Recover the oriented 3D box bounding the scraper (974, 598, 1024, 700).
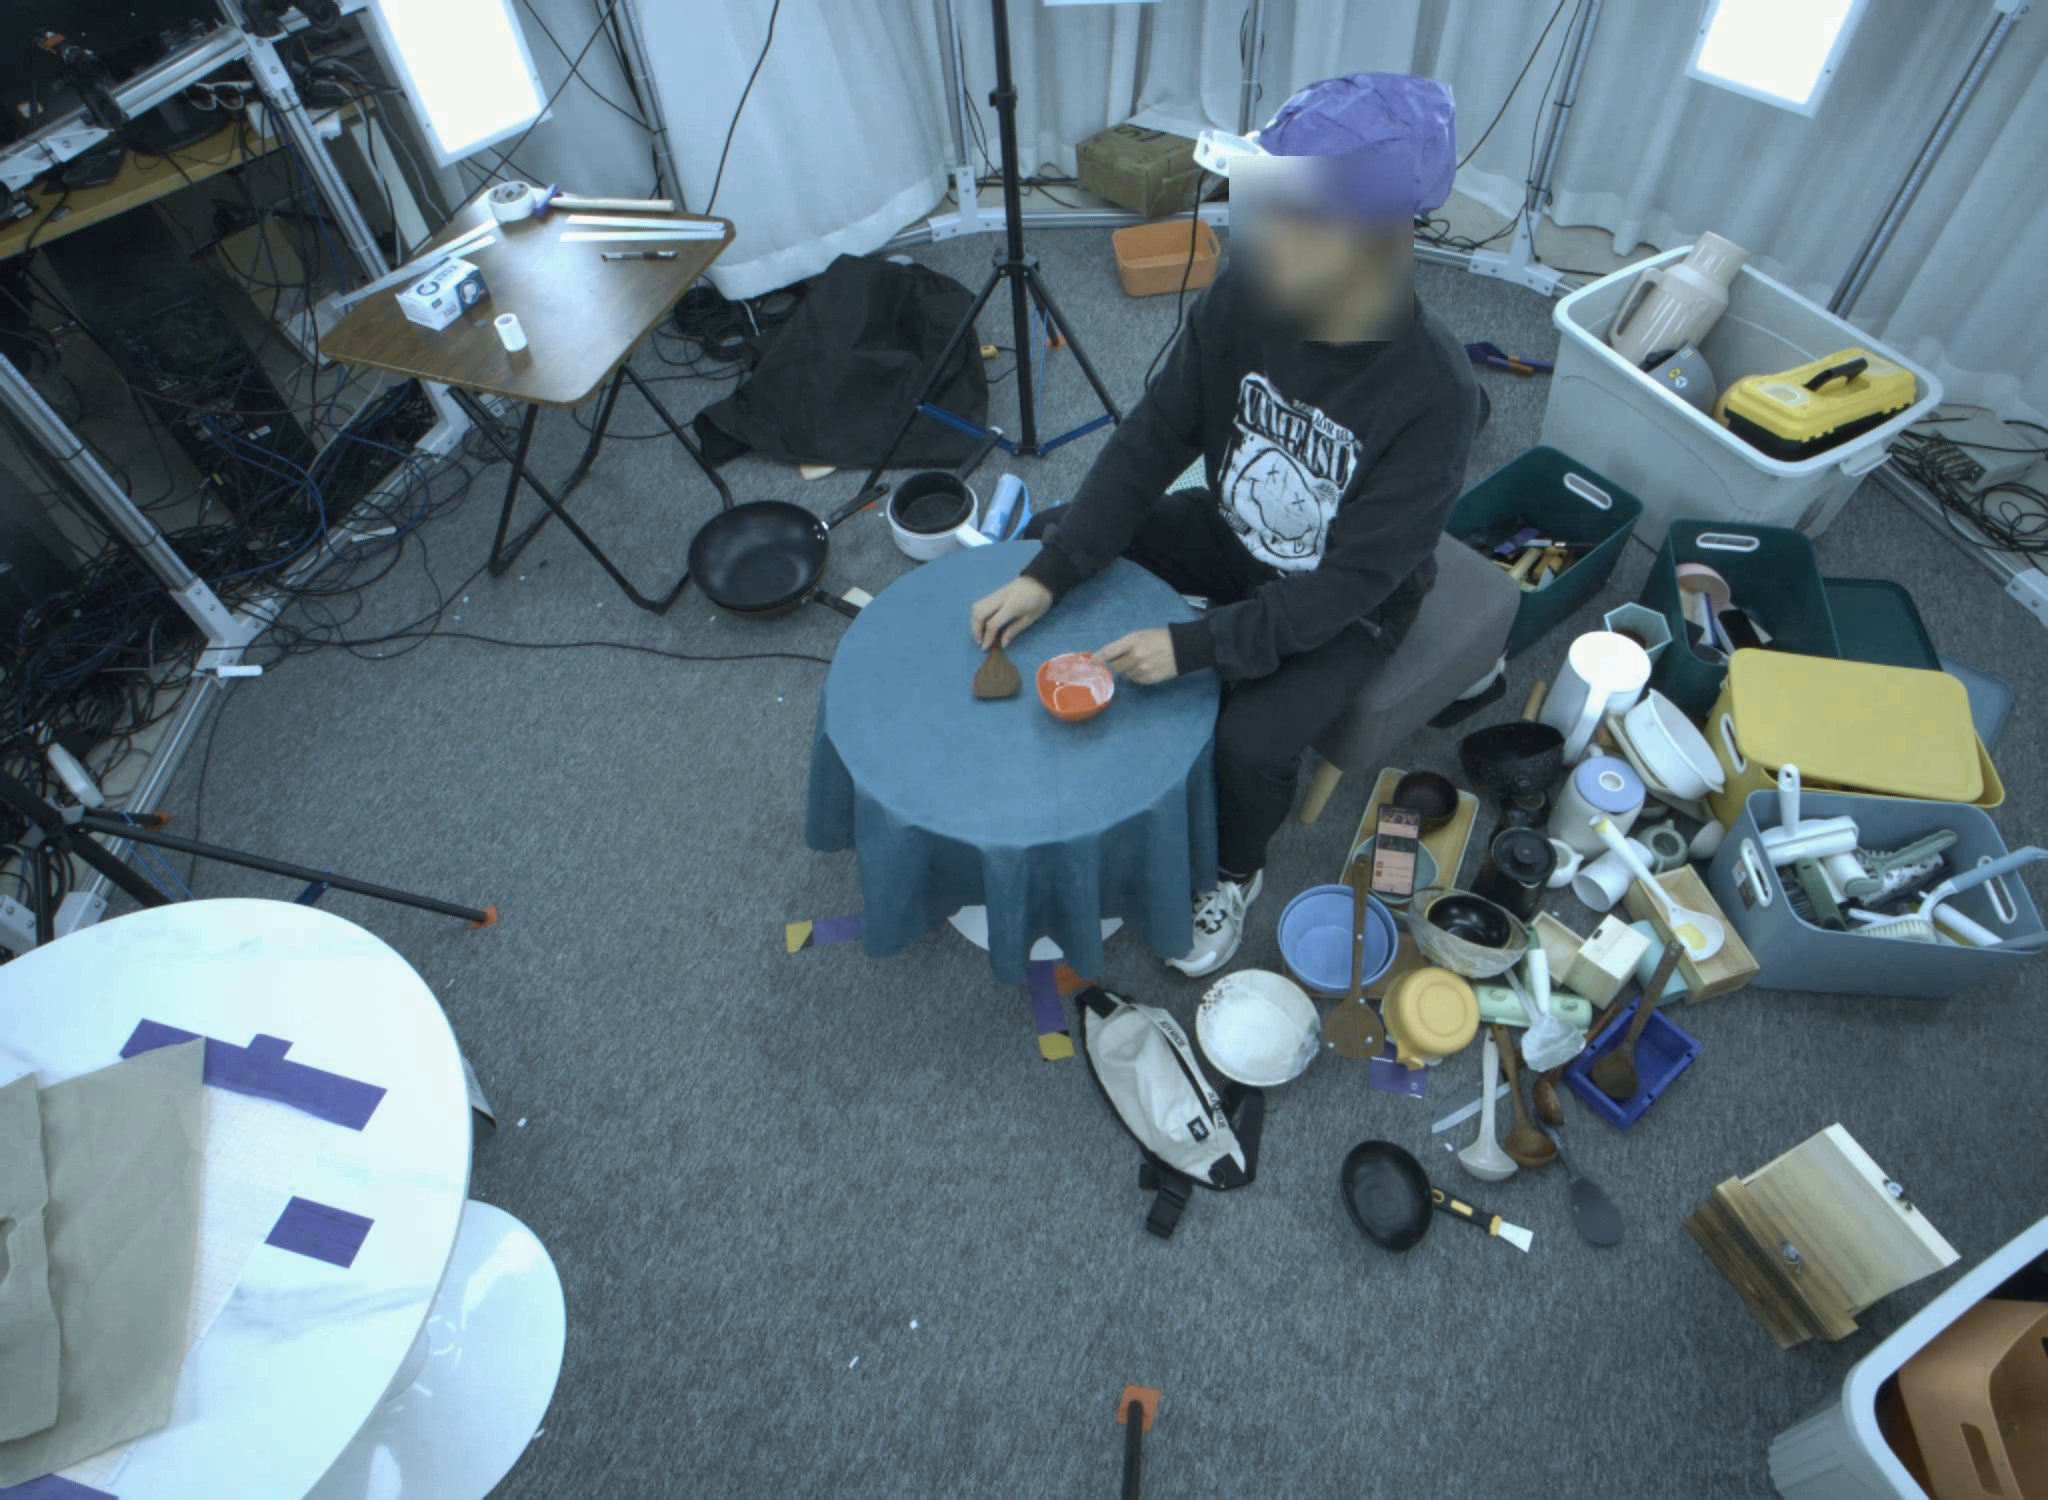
[{"bbox_3d":[-0.042,-0.158,1.905,0.076,0.011,0.209,-3,54,-1],"label":"scraper"}]

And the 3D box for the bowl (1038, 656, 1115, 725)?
[{"bbox_3d":[0.078,-0.081,1.823,0.119,0.052,0.117,-1,54,3],"label":"bowl"}]
